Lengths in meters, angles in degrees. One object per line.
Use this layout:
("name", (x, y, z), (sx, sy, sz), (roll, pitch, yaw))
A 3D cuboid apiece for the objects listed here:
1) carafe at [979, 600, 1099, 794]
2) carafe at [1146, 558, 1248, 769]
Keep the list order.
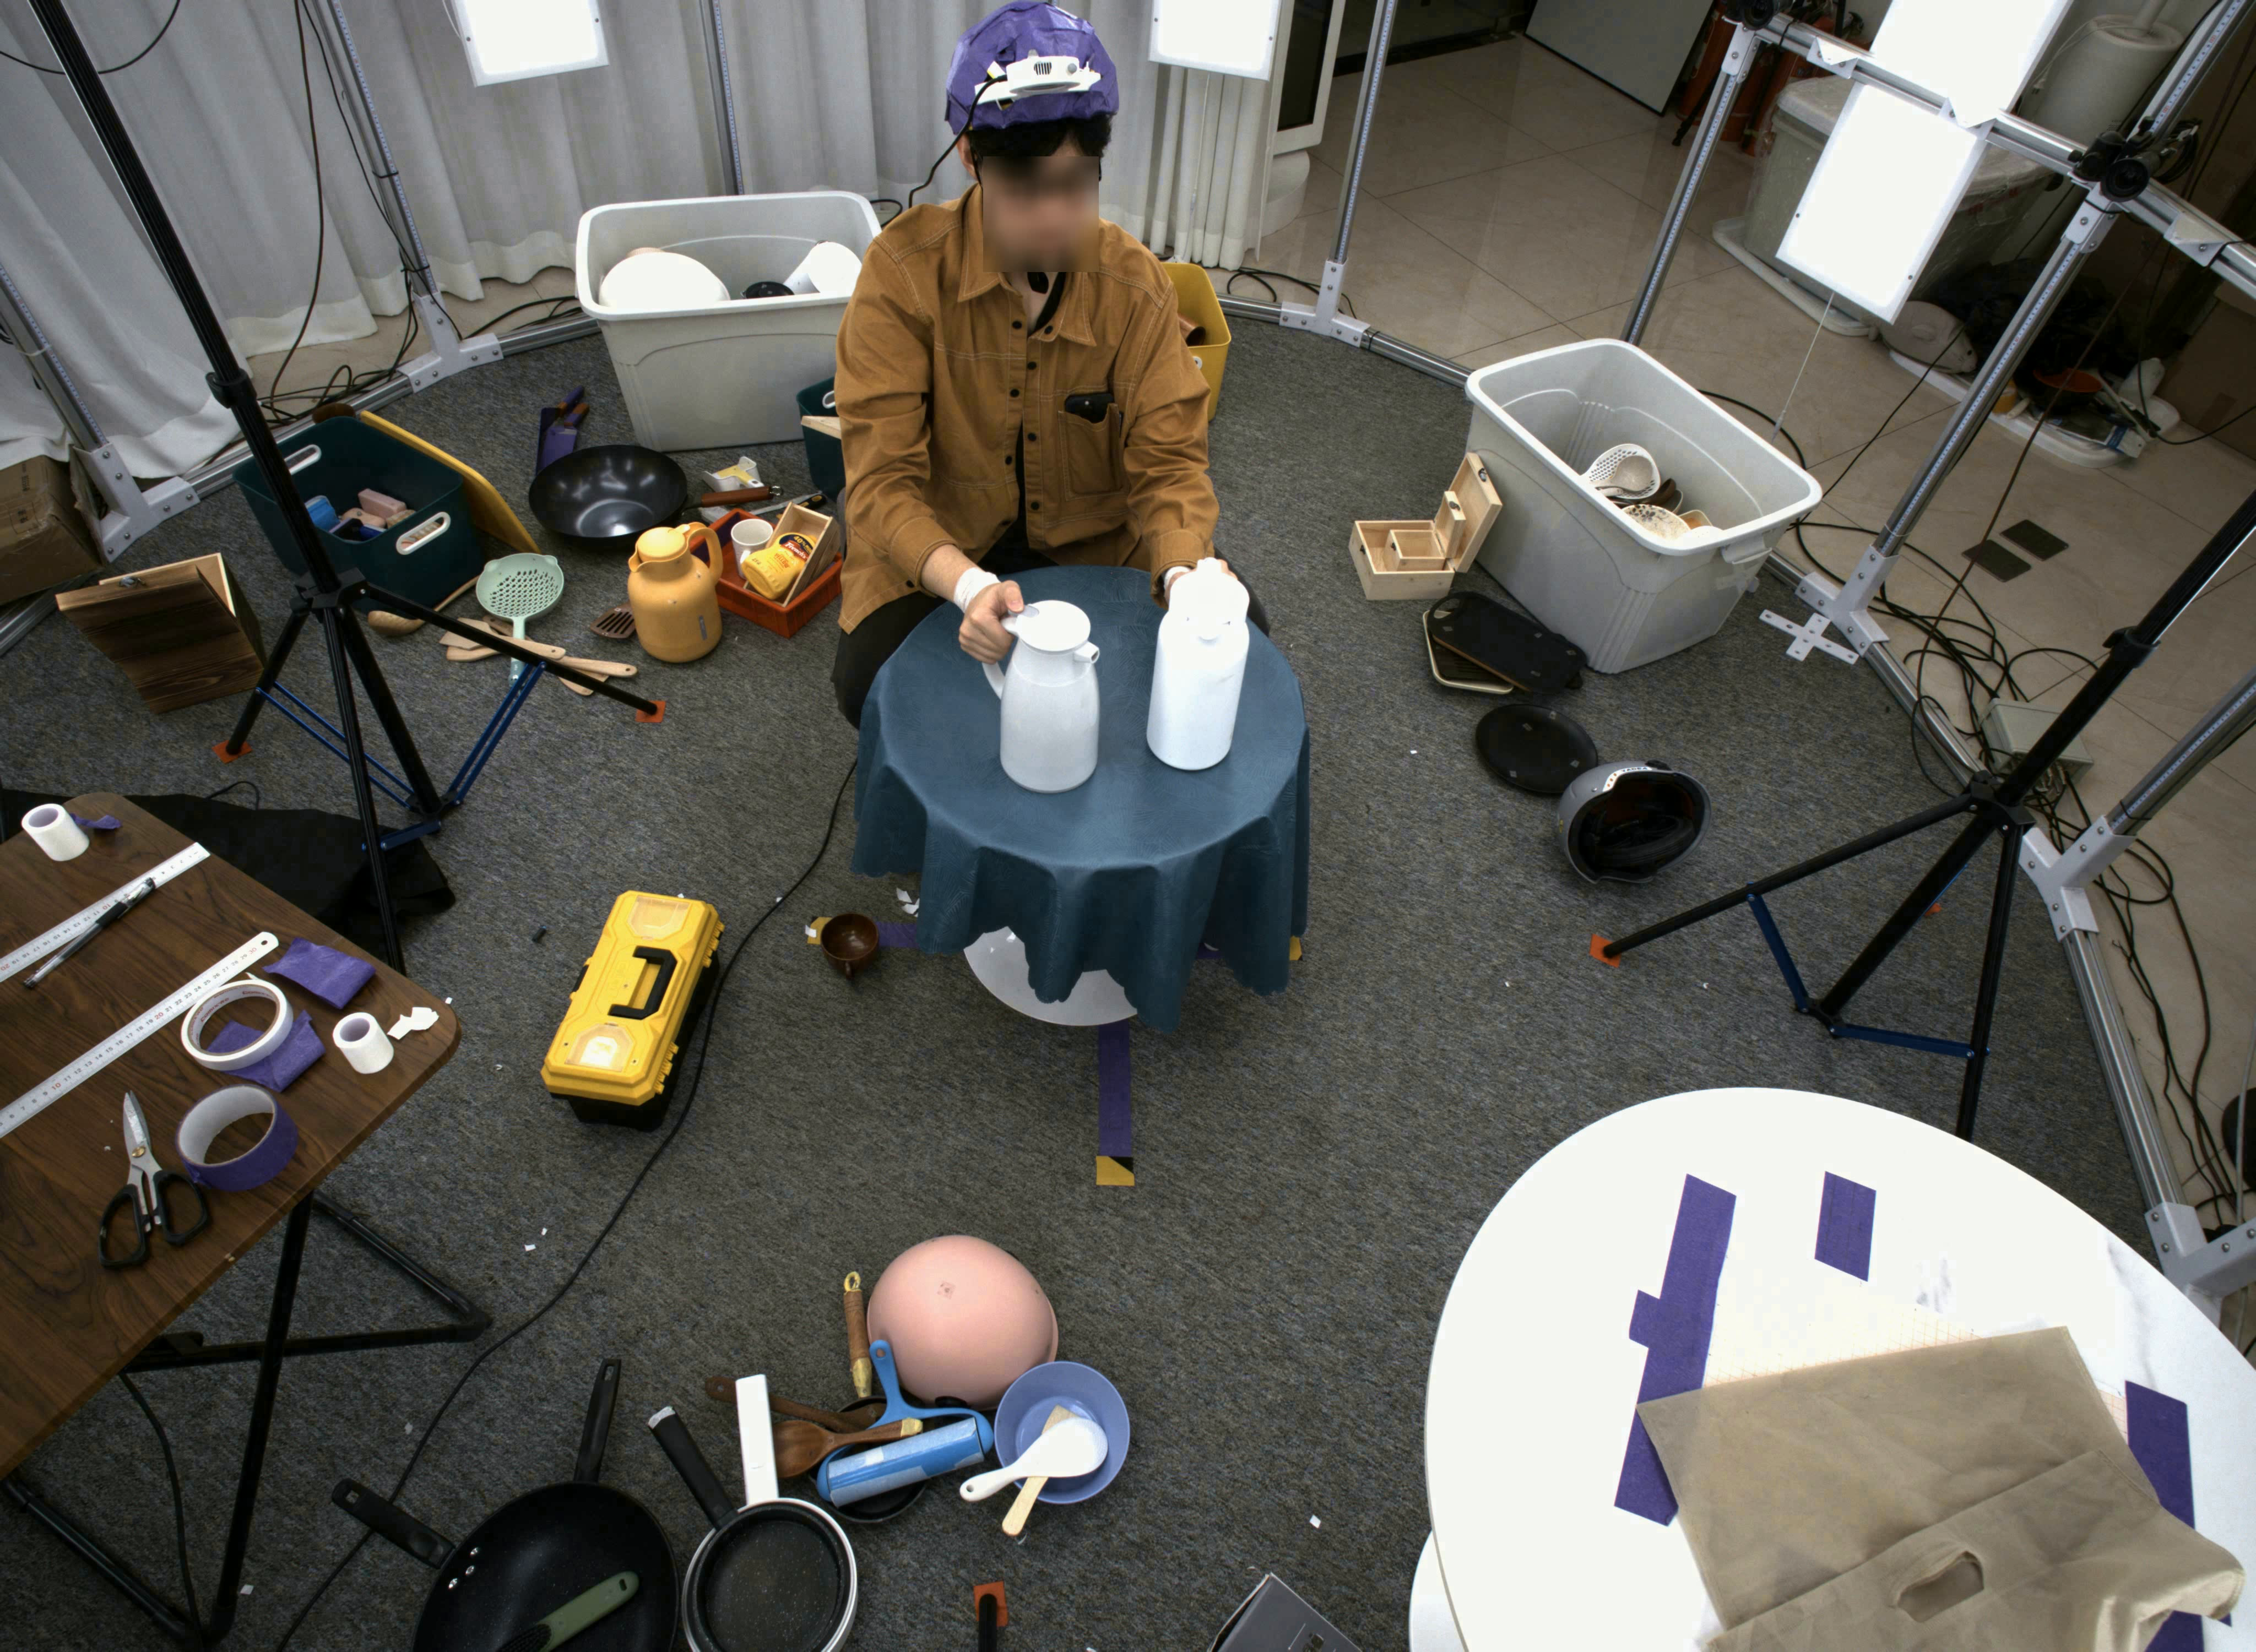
("carafe", (-0.118, -0.179, 1.657), (0.169, 0.242, 0.134), (25, 52, 18))
("carafe", (0.090, -0.215, 1.689), (0.124, 0.262, 0.177), (3, 49, 1))
